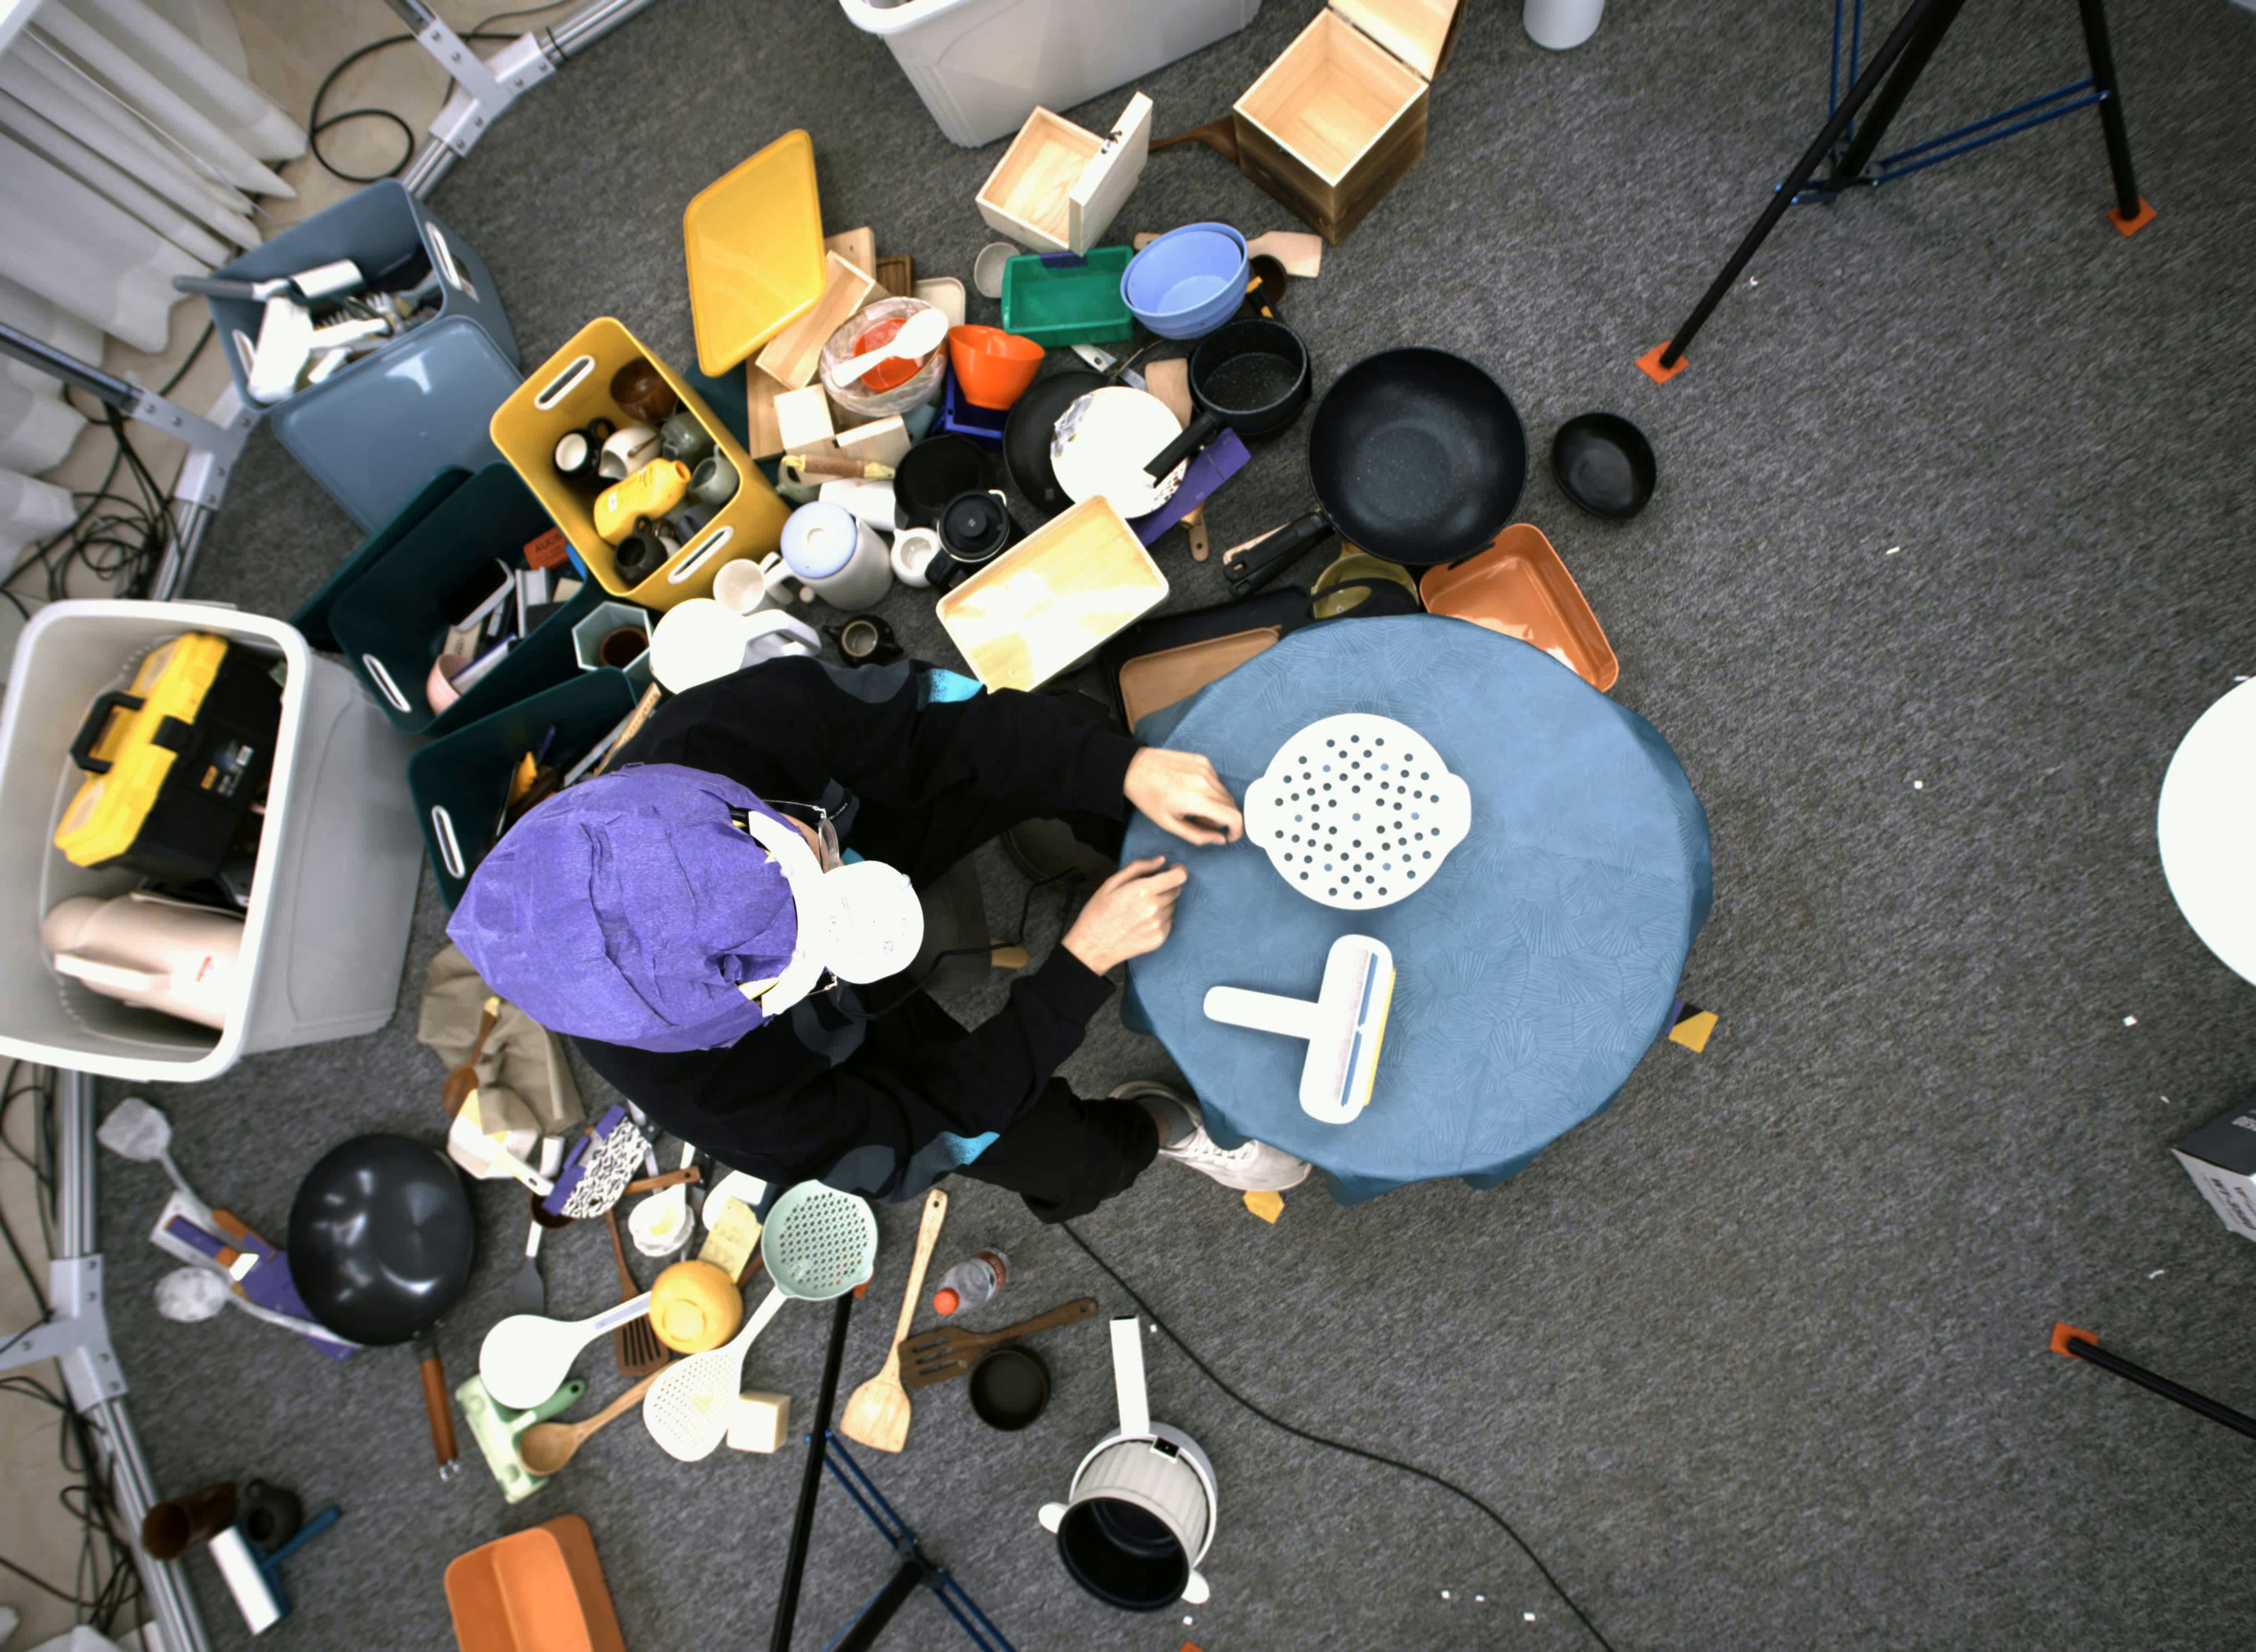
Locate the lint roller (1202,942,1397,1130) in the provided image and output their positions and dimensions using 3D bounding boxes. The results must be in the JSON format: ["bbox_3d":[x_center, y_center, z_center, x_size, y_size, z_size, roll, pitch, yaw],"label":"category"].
[{"bbox_3d":[0.167,0.200,1.434,0.192,0.074,0.191,15,84,12],"label":"lint roller"}]

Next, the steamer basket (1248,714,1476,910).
[{"bbox_3d":[0.243,-0.013,1.433,0.231,0.069,0.201,-1,85,13],"label":"steamer basket"}]
